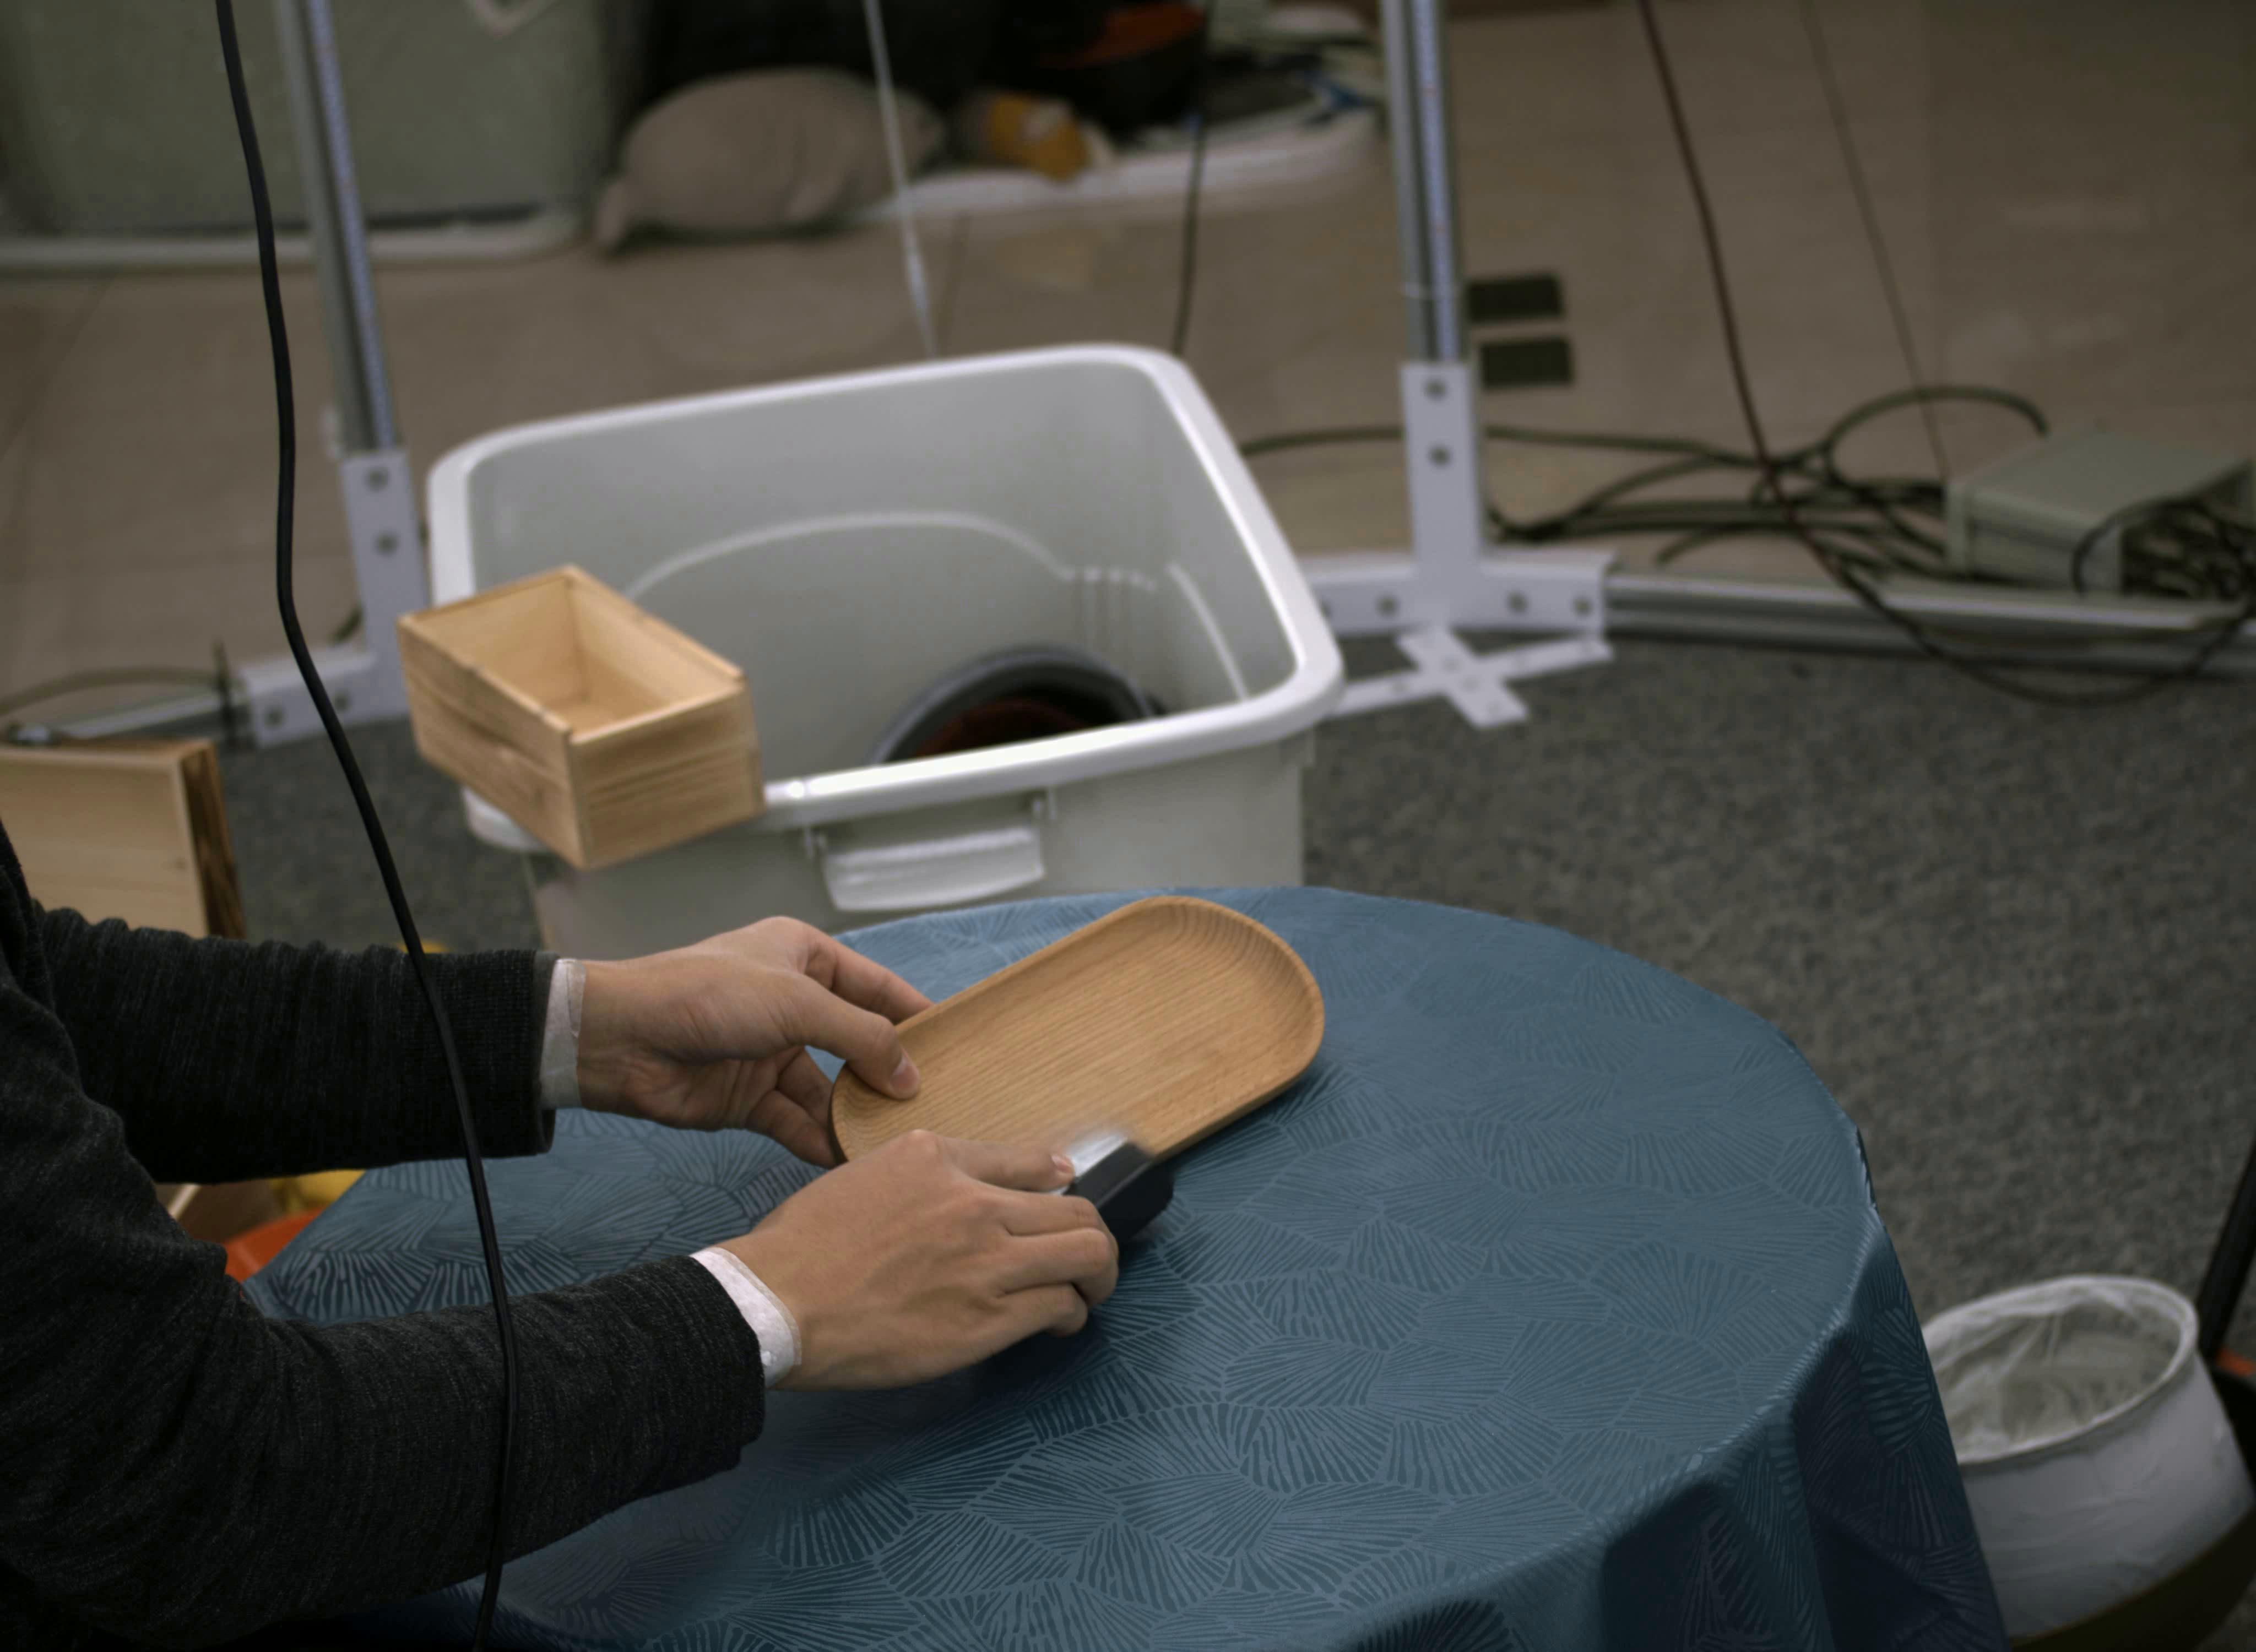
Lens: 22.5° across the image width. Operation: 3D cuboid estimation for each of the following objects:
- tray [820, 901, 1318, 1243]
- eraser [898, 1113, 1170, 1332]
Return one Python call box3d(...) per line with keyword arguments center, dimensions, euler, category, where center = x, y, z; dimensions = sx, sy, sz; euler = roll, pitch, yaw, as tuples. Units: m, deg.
box3d(center=(-0.021, 0.096, 2.175), dimensions=(0.229, 0.021, 0.101), euler=(-29, 63, -36), category="tray")
box3d(center=(-0.034, 0.143, 2.075), dimensions=(0.053, 0.031, 0.124), euler=(13, 25, 22), category="eraser")
